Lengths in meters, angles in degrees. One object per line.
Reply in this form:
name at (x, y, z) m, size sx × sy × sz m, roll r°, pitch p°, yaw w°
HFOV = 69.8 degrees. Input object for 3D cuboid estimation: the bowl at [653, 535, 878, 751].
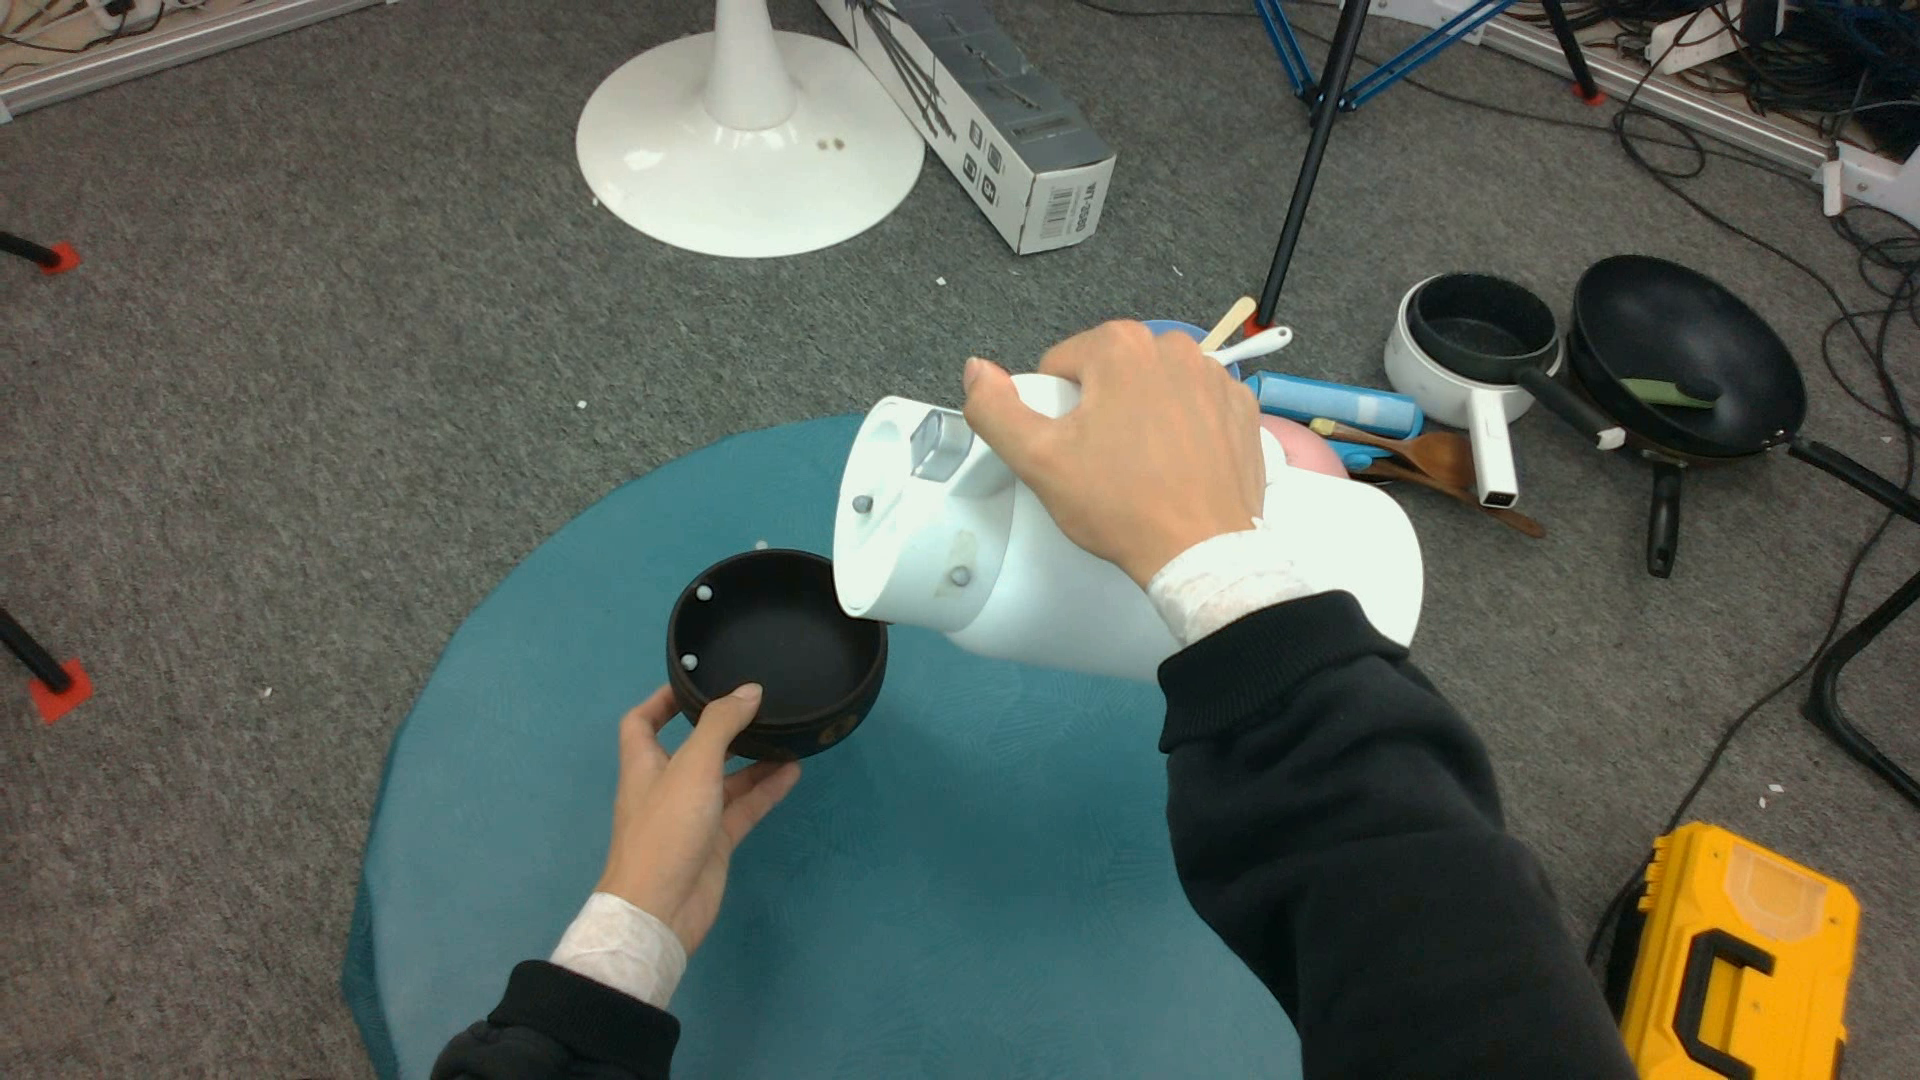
bowl at (-0.105, 0.062, 0.744) m, size 0.118 × 0.069 × 0.118 m, roll 5°, pitch 51°, yaw -7°

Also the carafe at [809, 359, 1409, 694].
carafe at (0.082, -0.007, 0.643) m, size 0.269 × 0.172 × 0.124 m, roll 12°, pitch 57°, yaw -22°
